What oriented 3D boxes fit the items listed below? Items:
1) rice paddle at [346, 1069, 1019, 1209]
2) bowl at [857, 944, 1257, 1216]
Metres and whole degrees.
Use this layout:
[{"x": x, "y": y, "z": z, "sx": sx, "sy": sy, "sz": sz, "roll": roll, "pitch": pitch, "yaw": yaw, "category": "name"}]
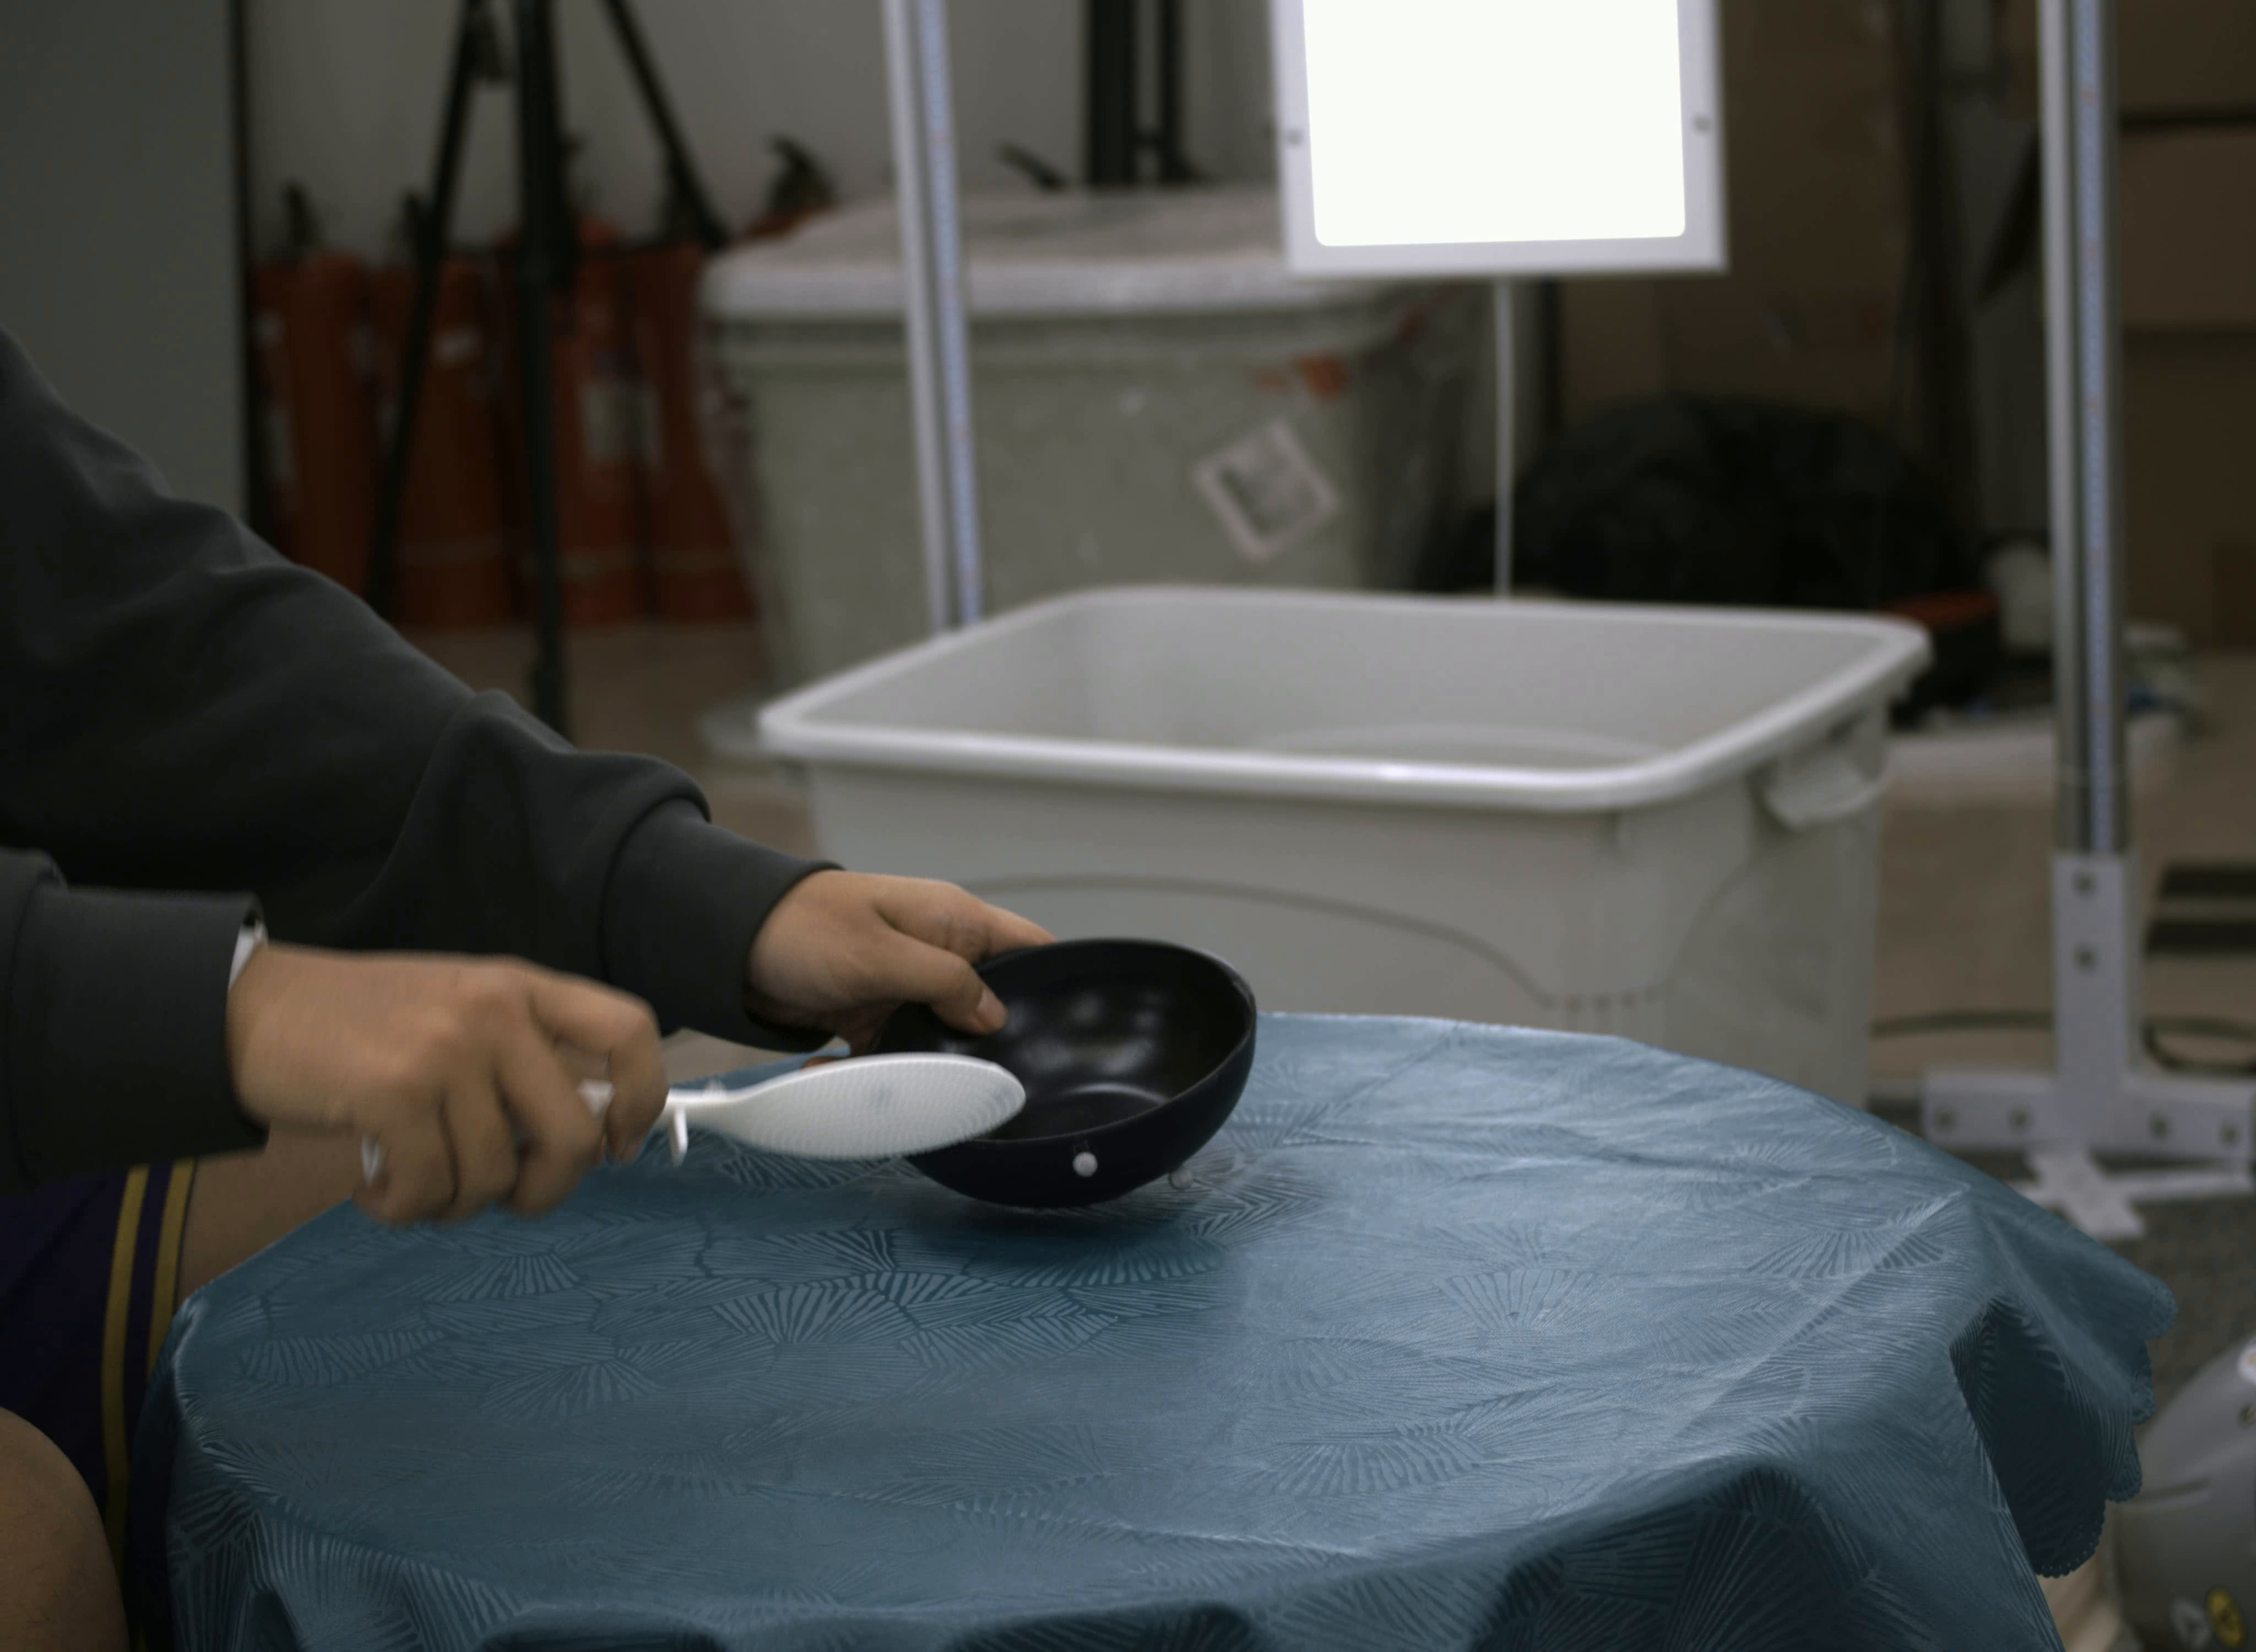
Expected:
[{"x": -0.133, "y": 0.091, "z": 1.666, "sx": 0.202, "sy": 0.029, "sz": 0.069, "roll": -4, "pitch": -23, "yaw": -12, "category": "rice paddle"}, {"x": -0.021, "y": 0.095, "z": 1.900, "sx": 0.140, "sy": 0.050, "sz": 0.139, "roll": -11, "pitch": 26, "yaw": 4, "category": "bowl"}]
